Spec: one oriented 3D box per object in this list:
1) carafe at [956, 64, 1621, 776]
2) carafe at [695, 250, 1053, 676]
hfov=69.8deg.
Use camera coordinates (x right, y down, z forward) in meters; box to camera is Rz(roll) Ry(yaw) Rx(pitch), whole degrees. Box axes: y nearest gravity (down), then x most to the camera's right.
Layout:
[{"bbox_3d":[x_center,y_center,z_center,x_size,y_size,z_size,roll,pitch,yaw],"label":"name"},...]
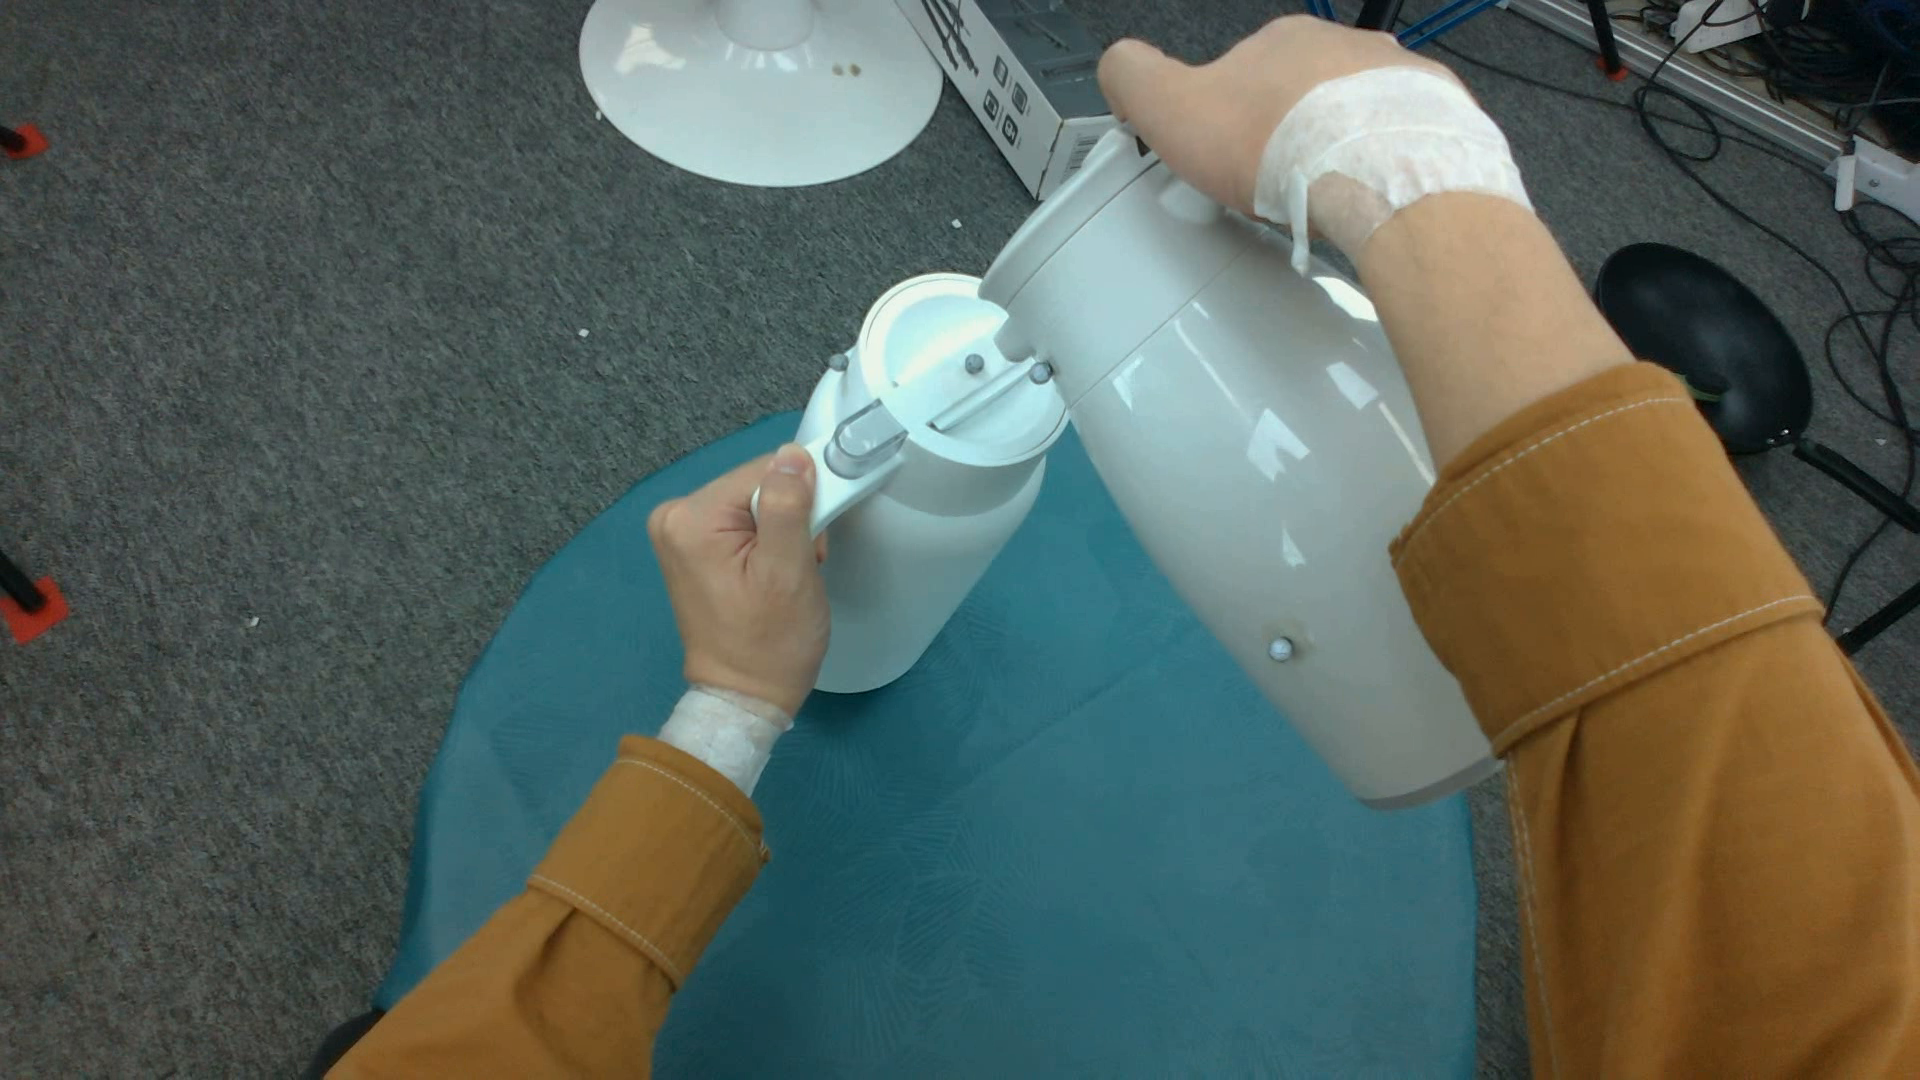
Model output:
[{"bbox_3d":[0.121,-0.055,0.505,0.248,0.167,0.133,48,45,-2],"label":"carafe"},{"bbox_3d":[-0.057,-0.018,0.692,0.173,0.267,0.124,-38,84,-31],"label":"carafe"}]
